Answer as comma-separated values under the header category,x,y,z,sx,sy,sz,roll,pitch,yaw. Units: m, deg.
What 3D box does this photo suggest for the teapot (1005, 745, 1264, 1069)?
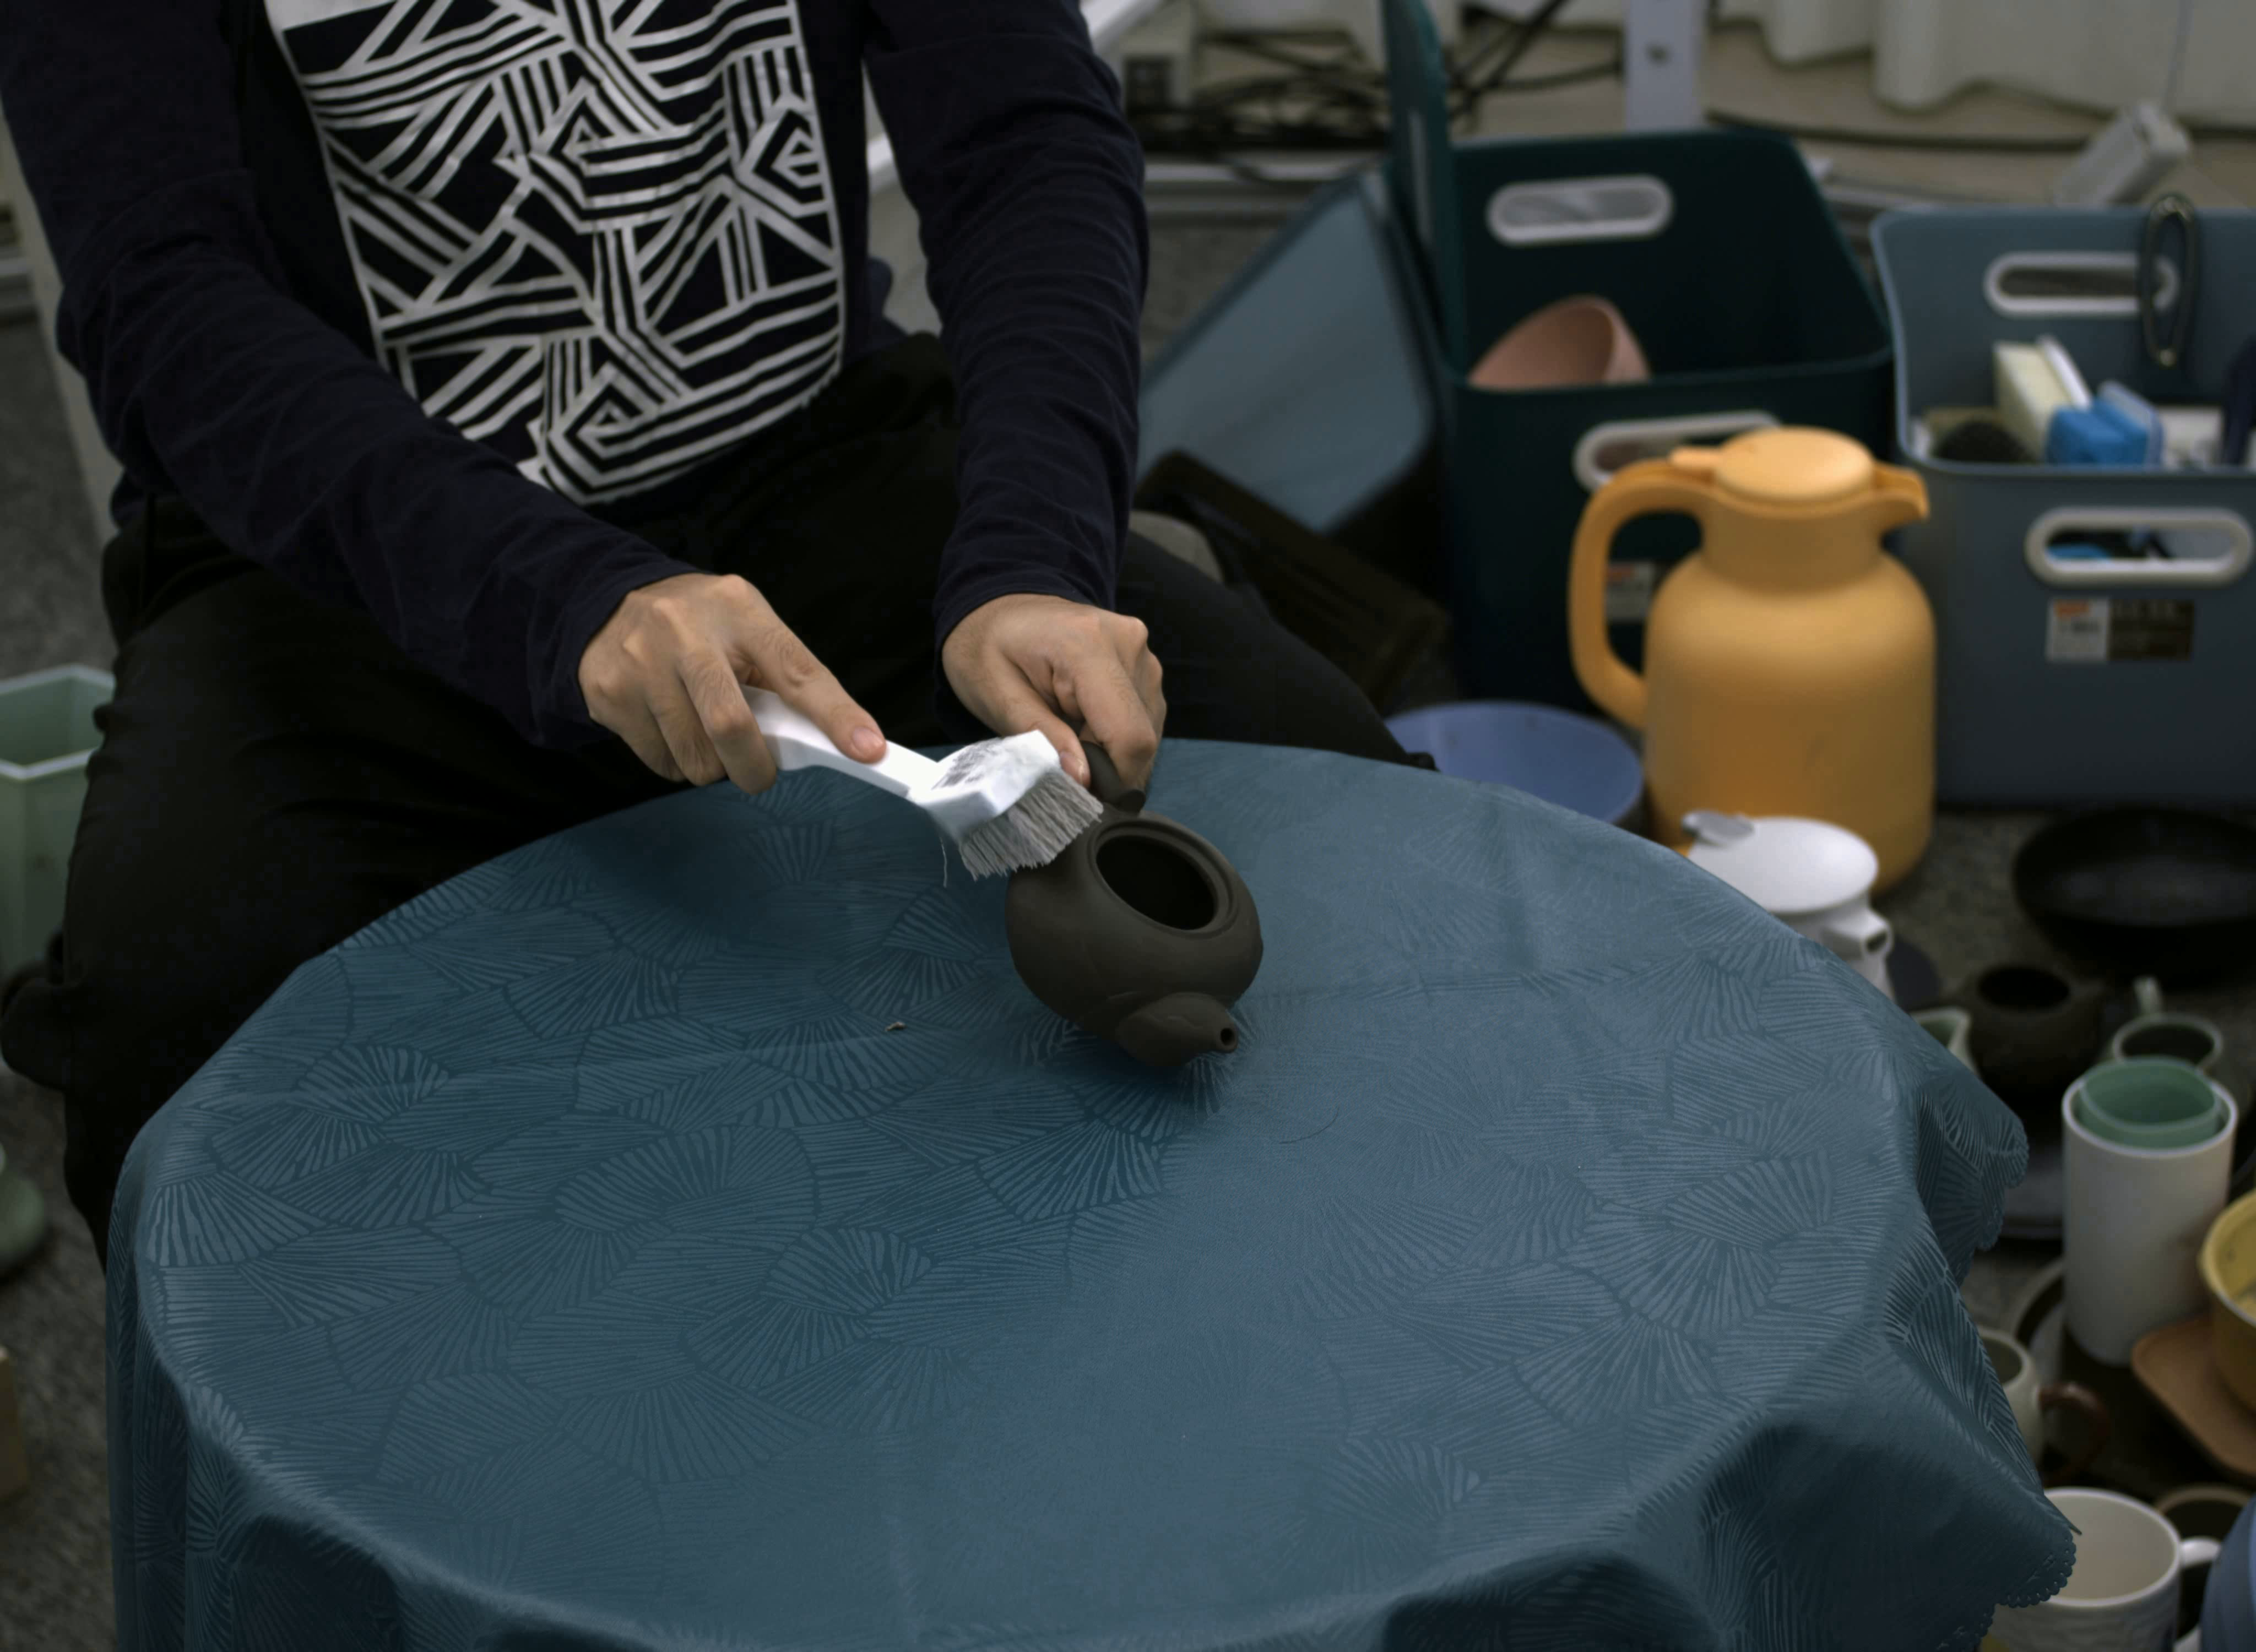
category,x,y,z,sx,sy,sz,roll,pitch,yaw
teapot,0.000,0.034,1.945,0.092,0.063,0.156,7,40,-32

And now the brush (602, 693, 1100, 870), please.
category,x,y,z,sx,sy,sz,roll,pitch,yaw
brush,-0.099,-0.017,1.981,0.242,0.050,0.035,7,51,48
